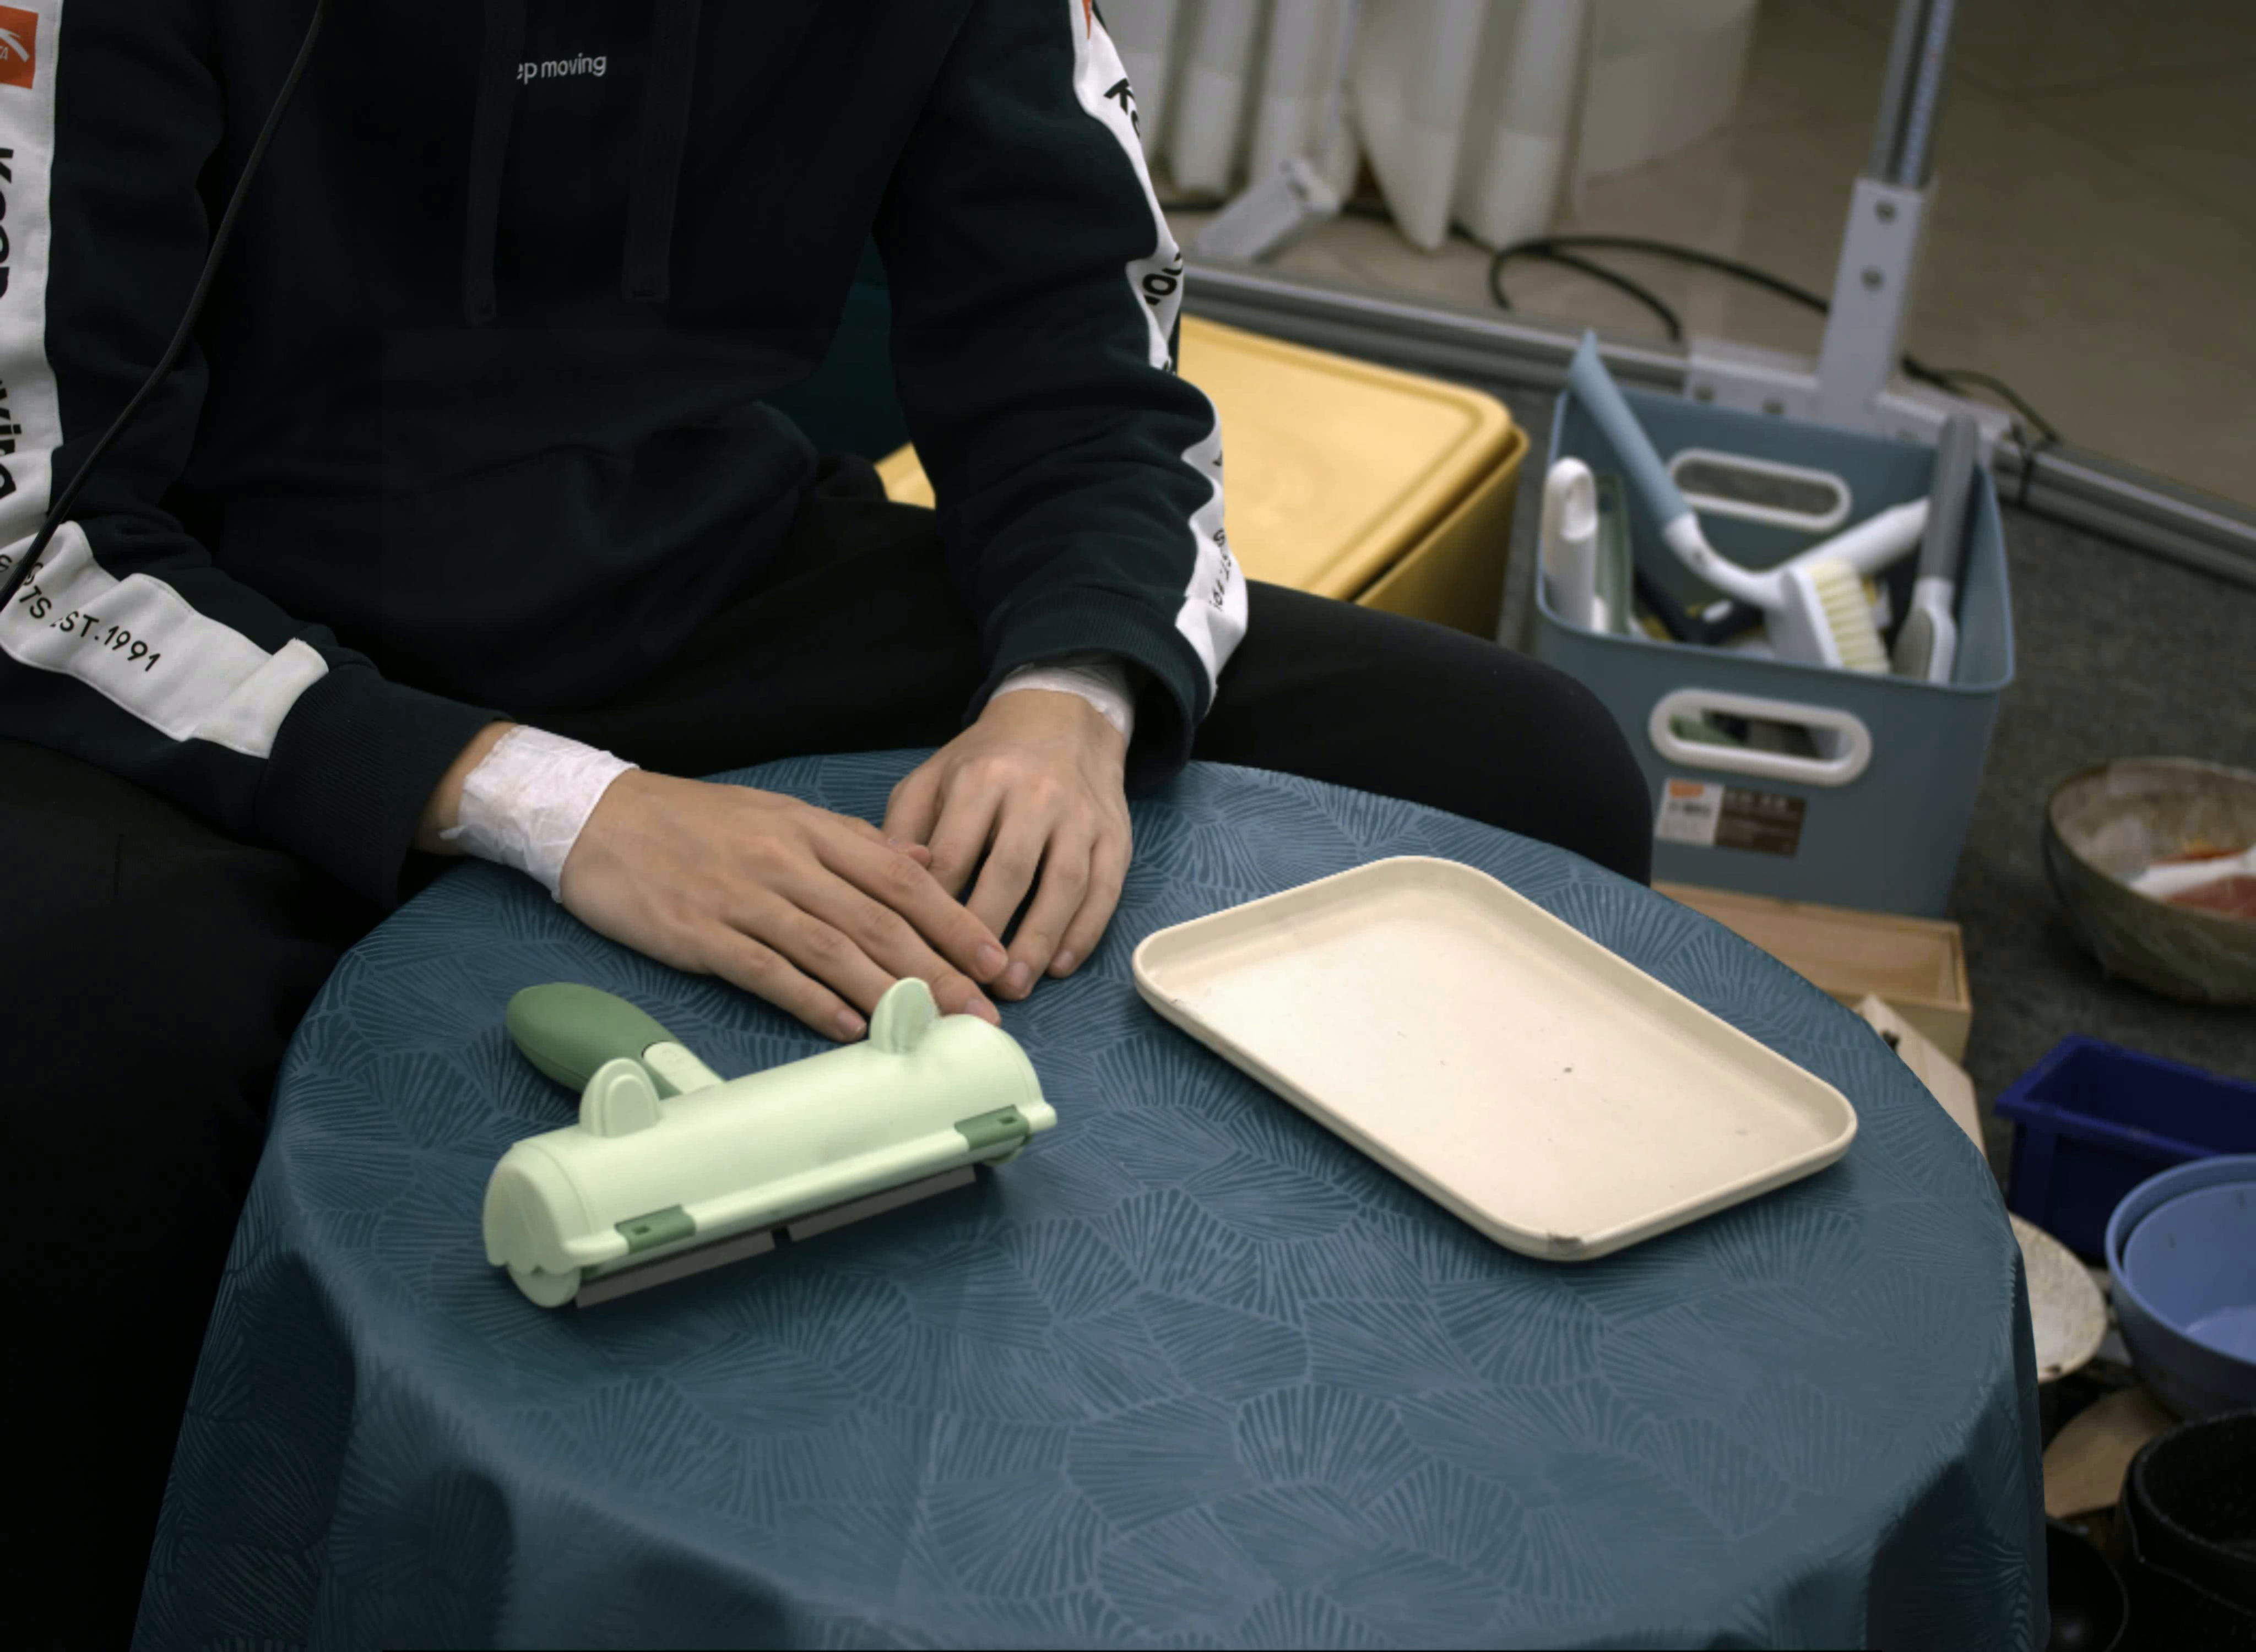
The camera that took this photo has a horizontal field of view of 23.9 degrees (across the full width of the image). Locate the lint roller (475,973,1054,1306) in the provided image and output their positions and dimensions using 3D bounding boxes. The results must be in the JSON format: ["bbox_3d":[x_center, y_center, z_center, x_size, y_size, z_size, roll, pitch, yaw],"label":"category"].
[{"bbox_3d":[-0.151,0.076,1.774,0.197,0.082,0.185,-15,38,-36],"label":"lint roller"}]

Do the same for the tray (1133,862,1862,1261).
[{"bbox_3d":[0.129,0.082,1.890,0.170,0.017,0.241,-16,34,-38],"label":"tray"}]
